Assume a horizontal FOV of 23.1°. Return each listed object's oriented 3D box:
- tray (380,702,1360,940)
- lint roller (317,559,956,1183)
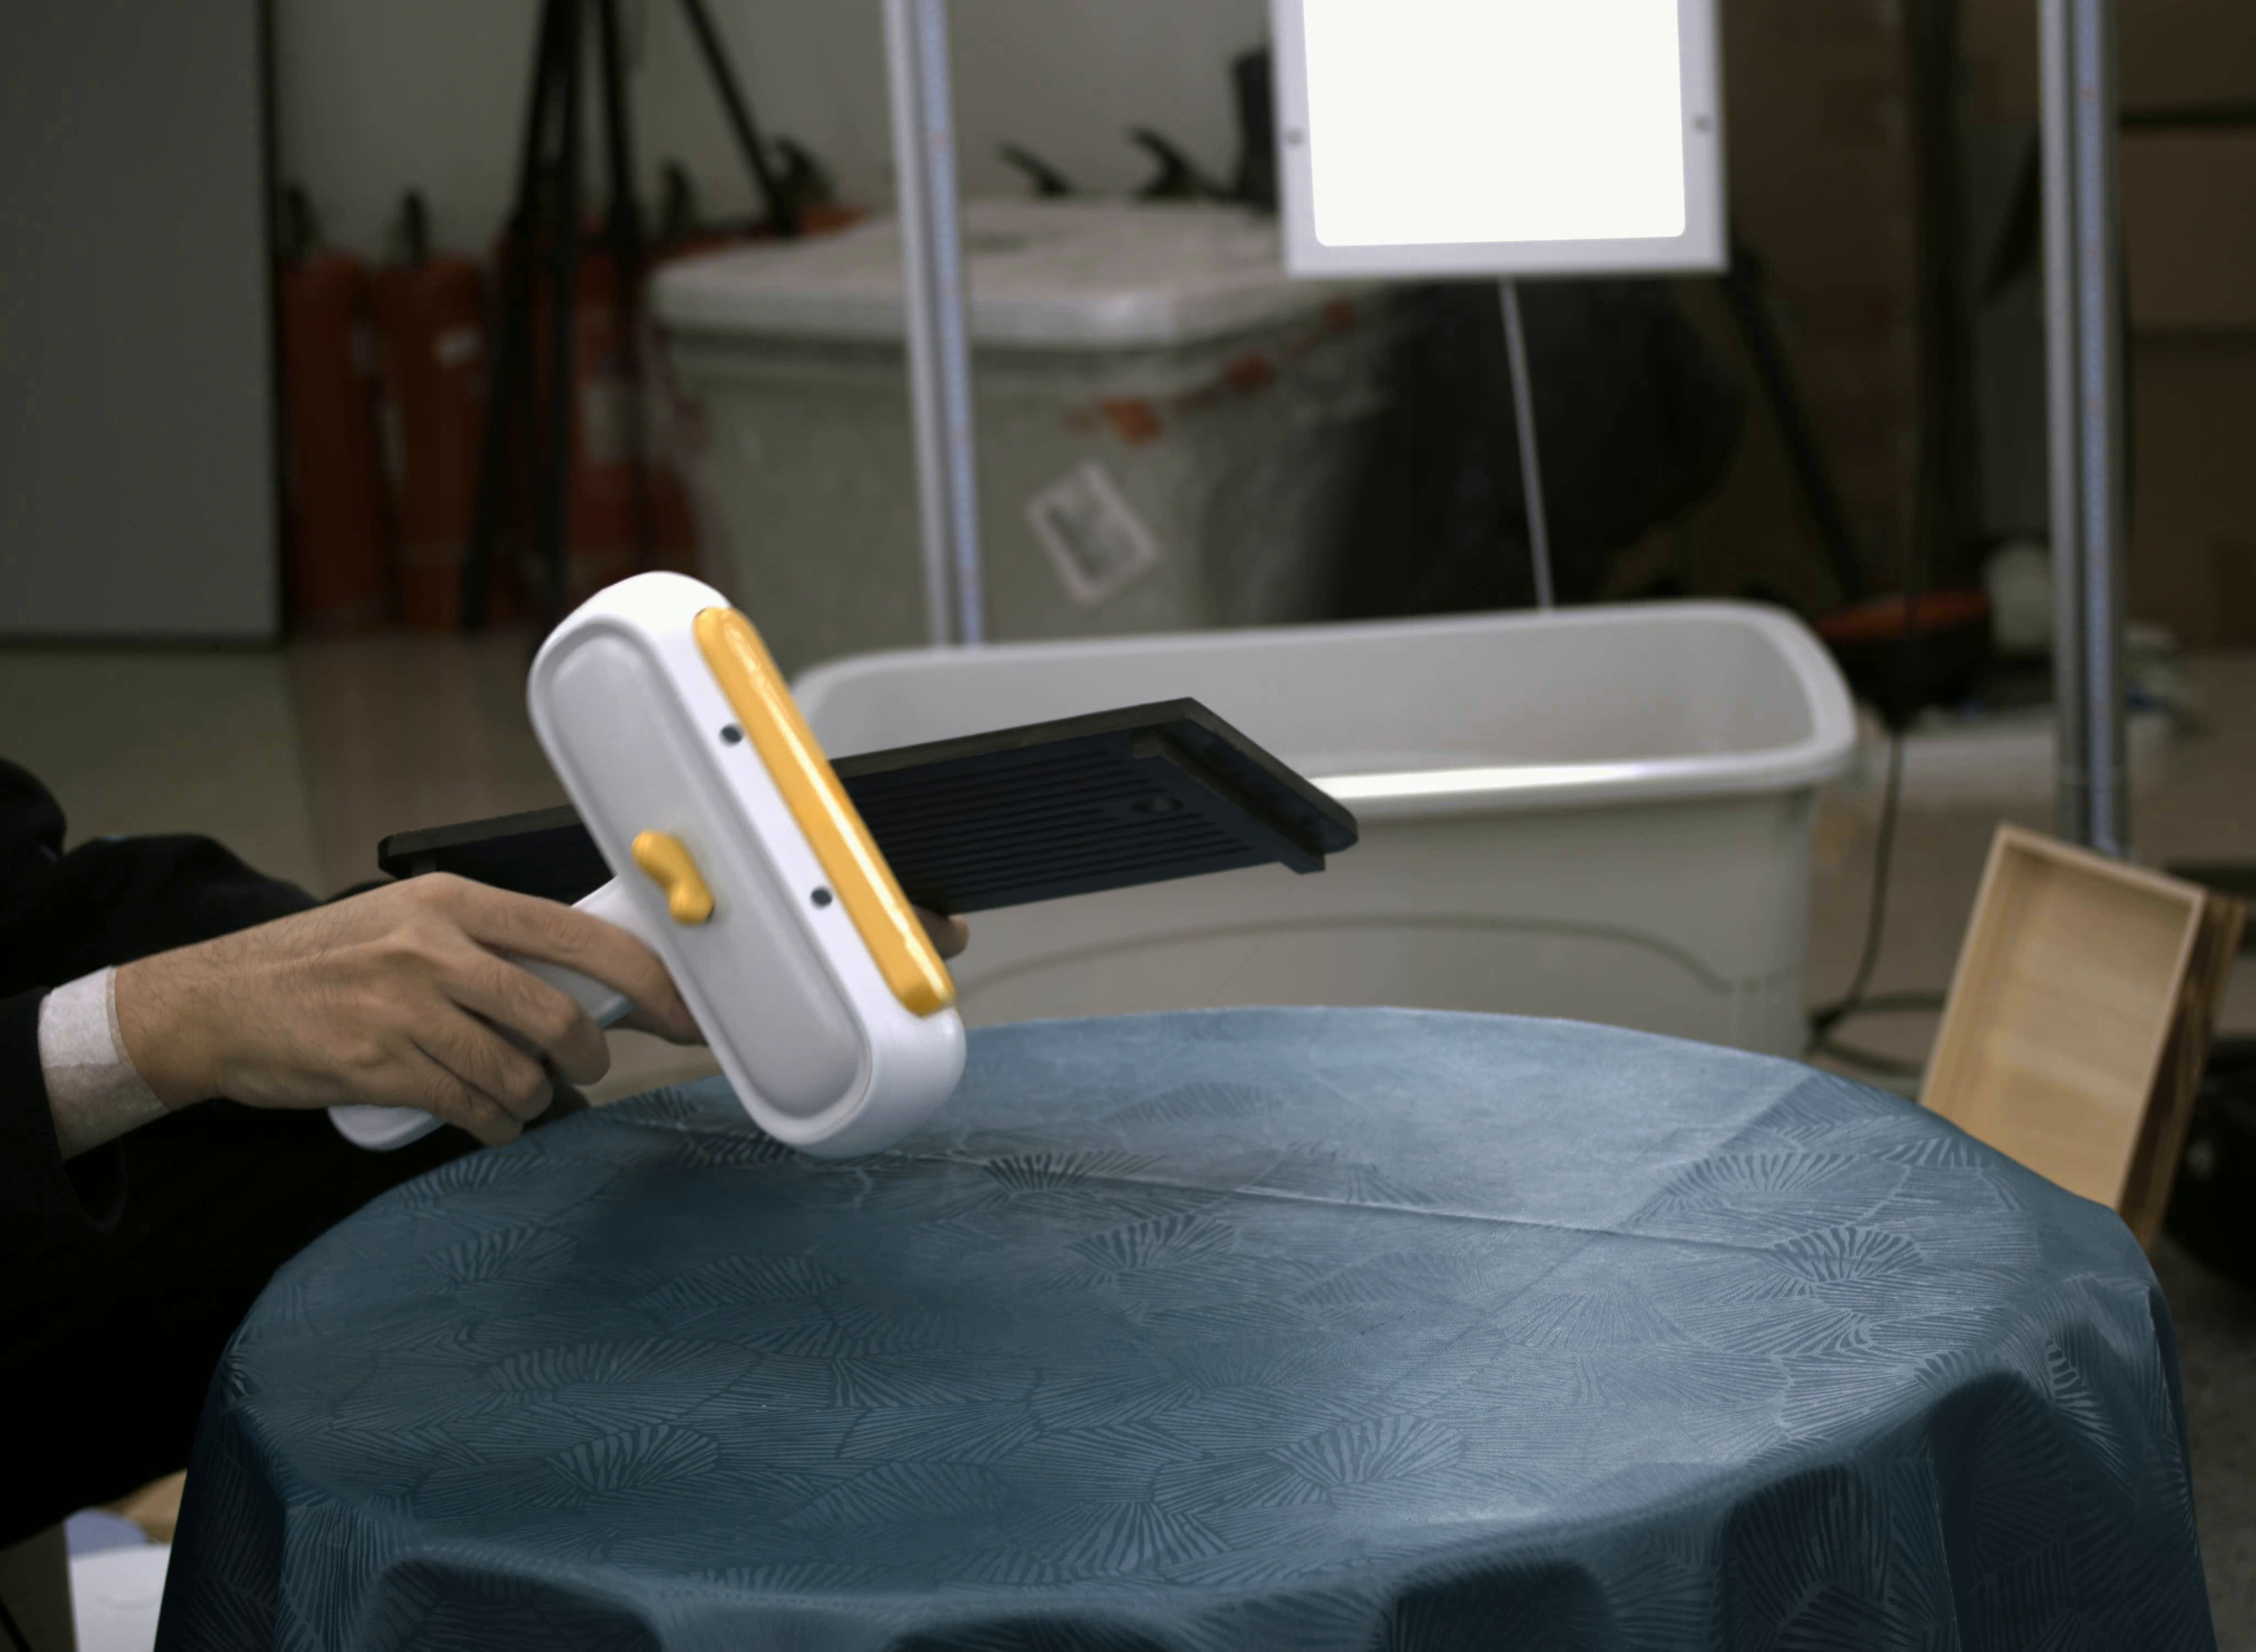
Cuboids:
[{"bbox_3d":[-0.087,0.011,1.890,0.310,0.018,0.167,-10,-19,22],"label":"tray"},{"bbox_3d":[-0.169,0.042,1.702,0.195,0.193,0.073,-38,-5,25],"label":"lint roller"}]
